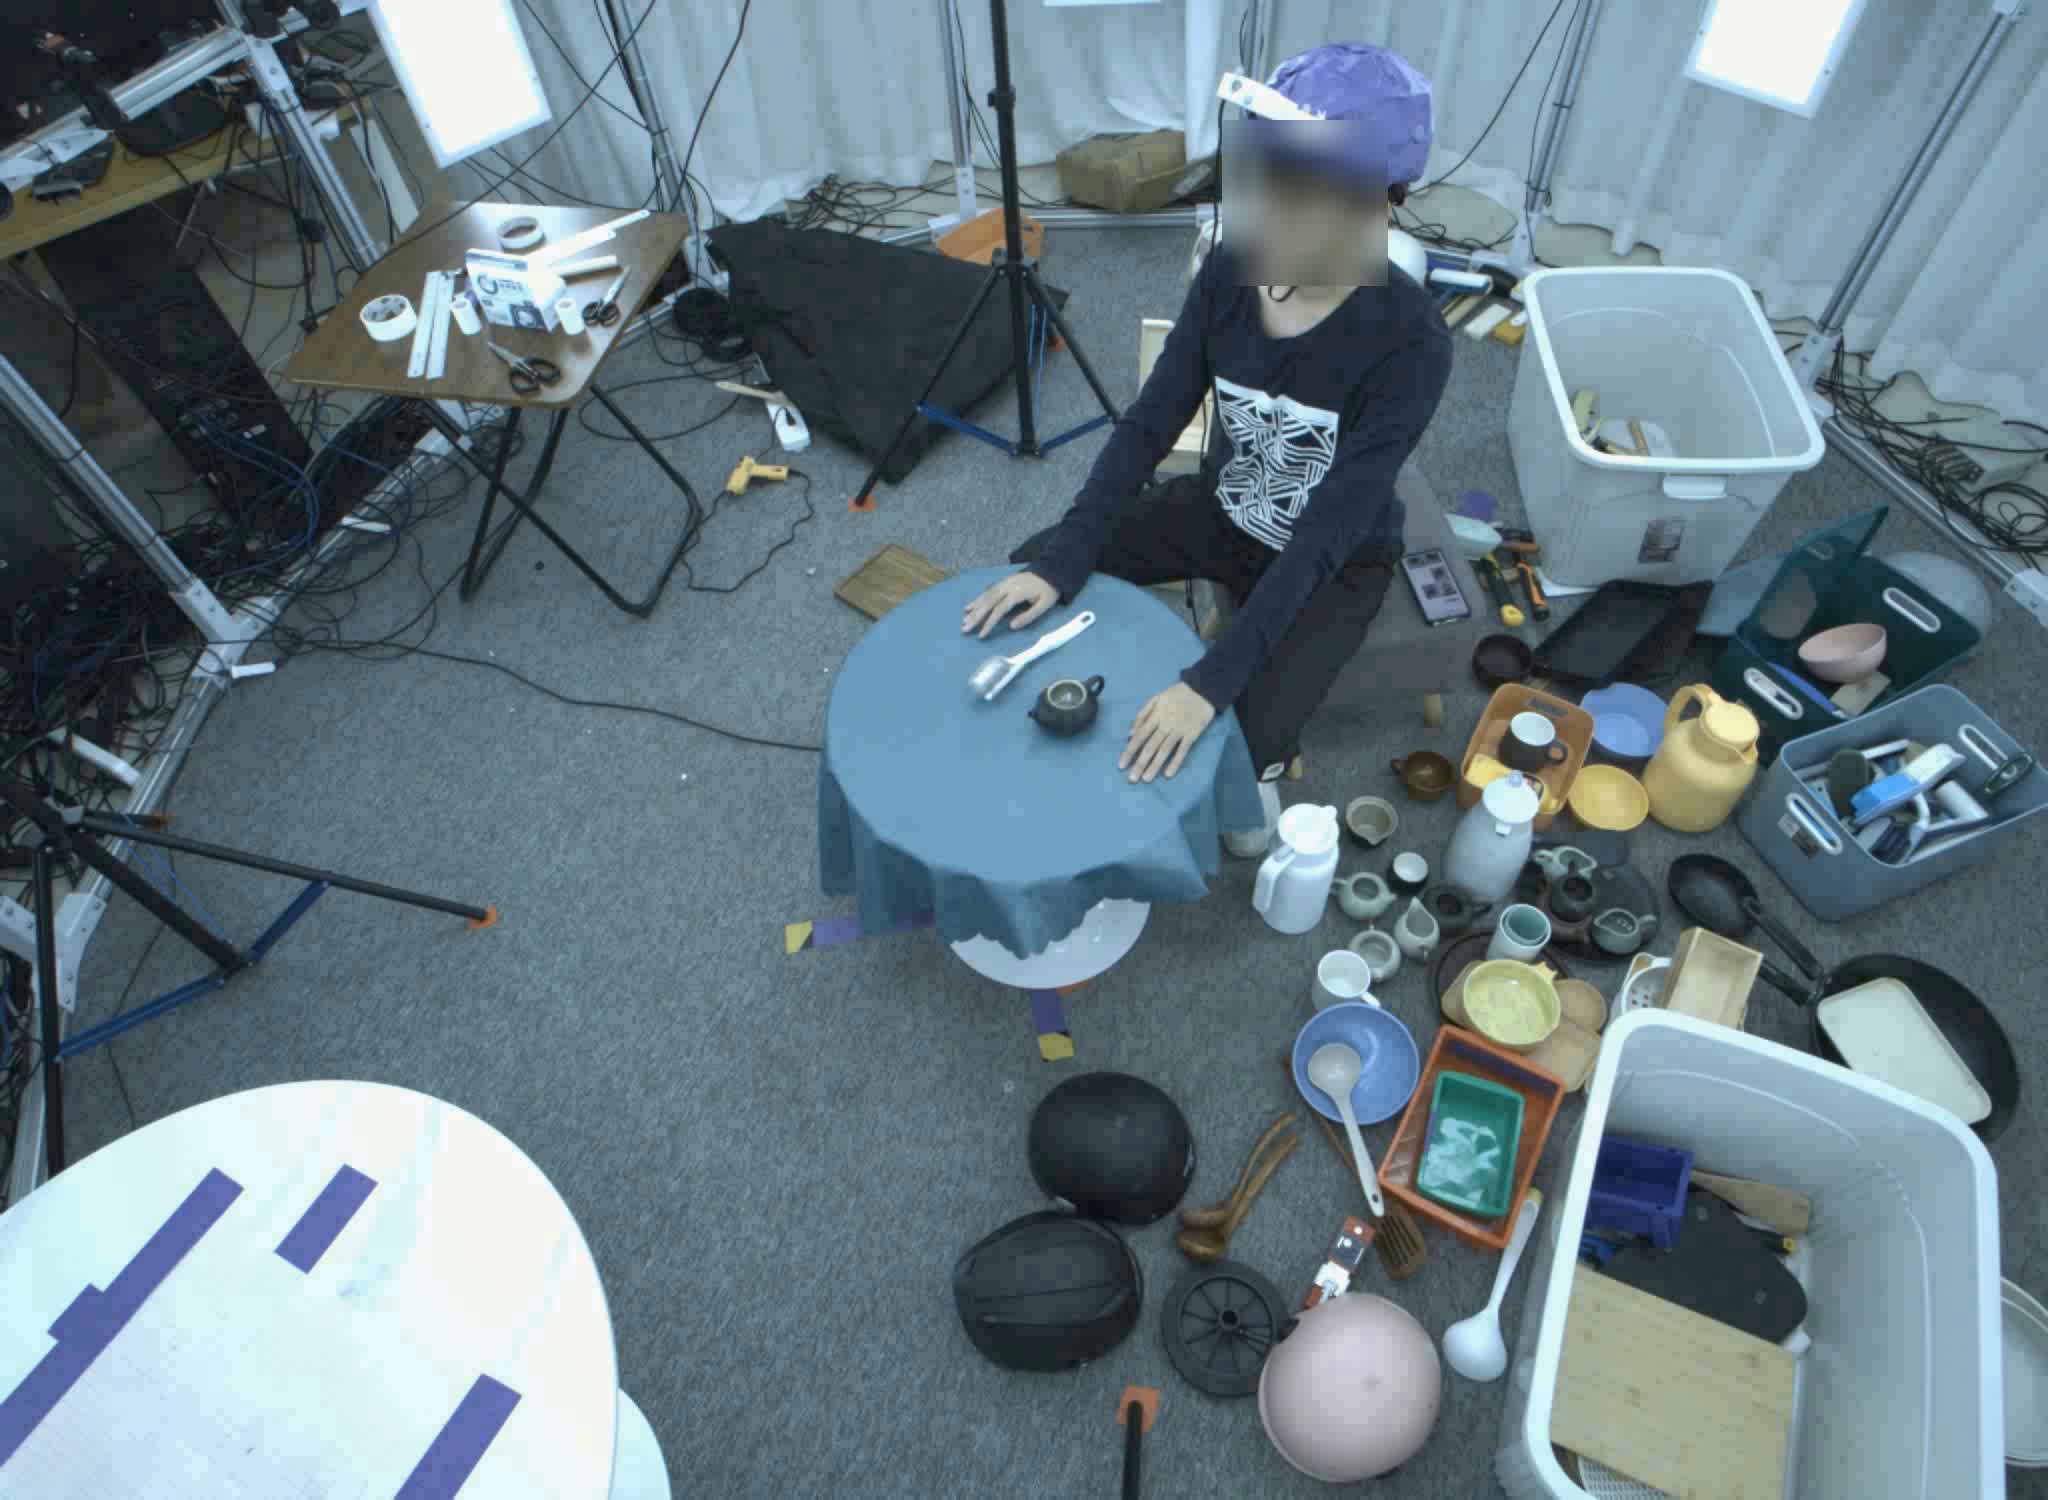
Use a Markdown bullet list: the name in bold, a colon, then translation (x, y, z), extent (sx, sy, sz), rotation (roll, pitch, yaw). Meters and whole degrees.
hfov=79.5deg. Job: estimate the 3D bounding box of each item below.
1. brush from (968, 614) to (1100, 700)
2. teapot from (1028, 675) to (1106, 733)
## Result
- **brush**: translation (0.018, -0.154, 1.860), extent (0.245, 0.051, 0.033), rotation (-34, 55, -20)
- **teapot**: translation (0.063, -0.067, 1.793), extent (0.134, 0.053, 0.089), rotation (-30, 62, -18)
